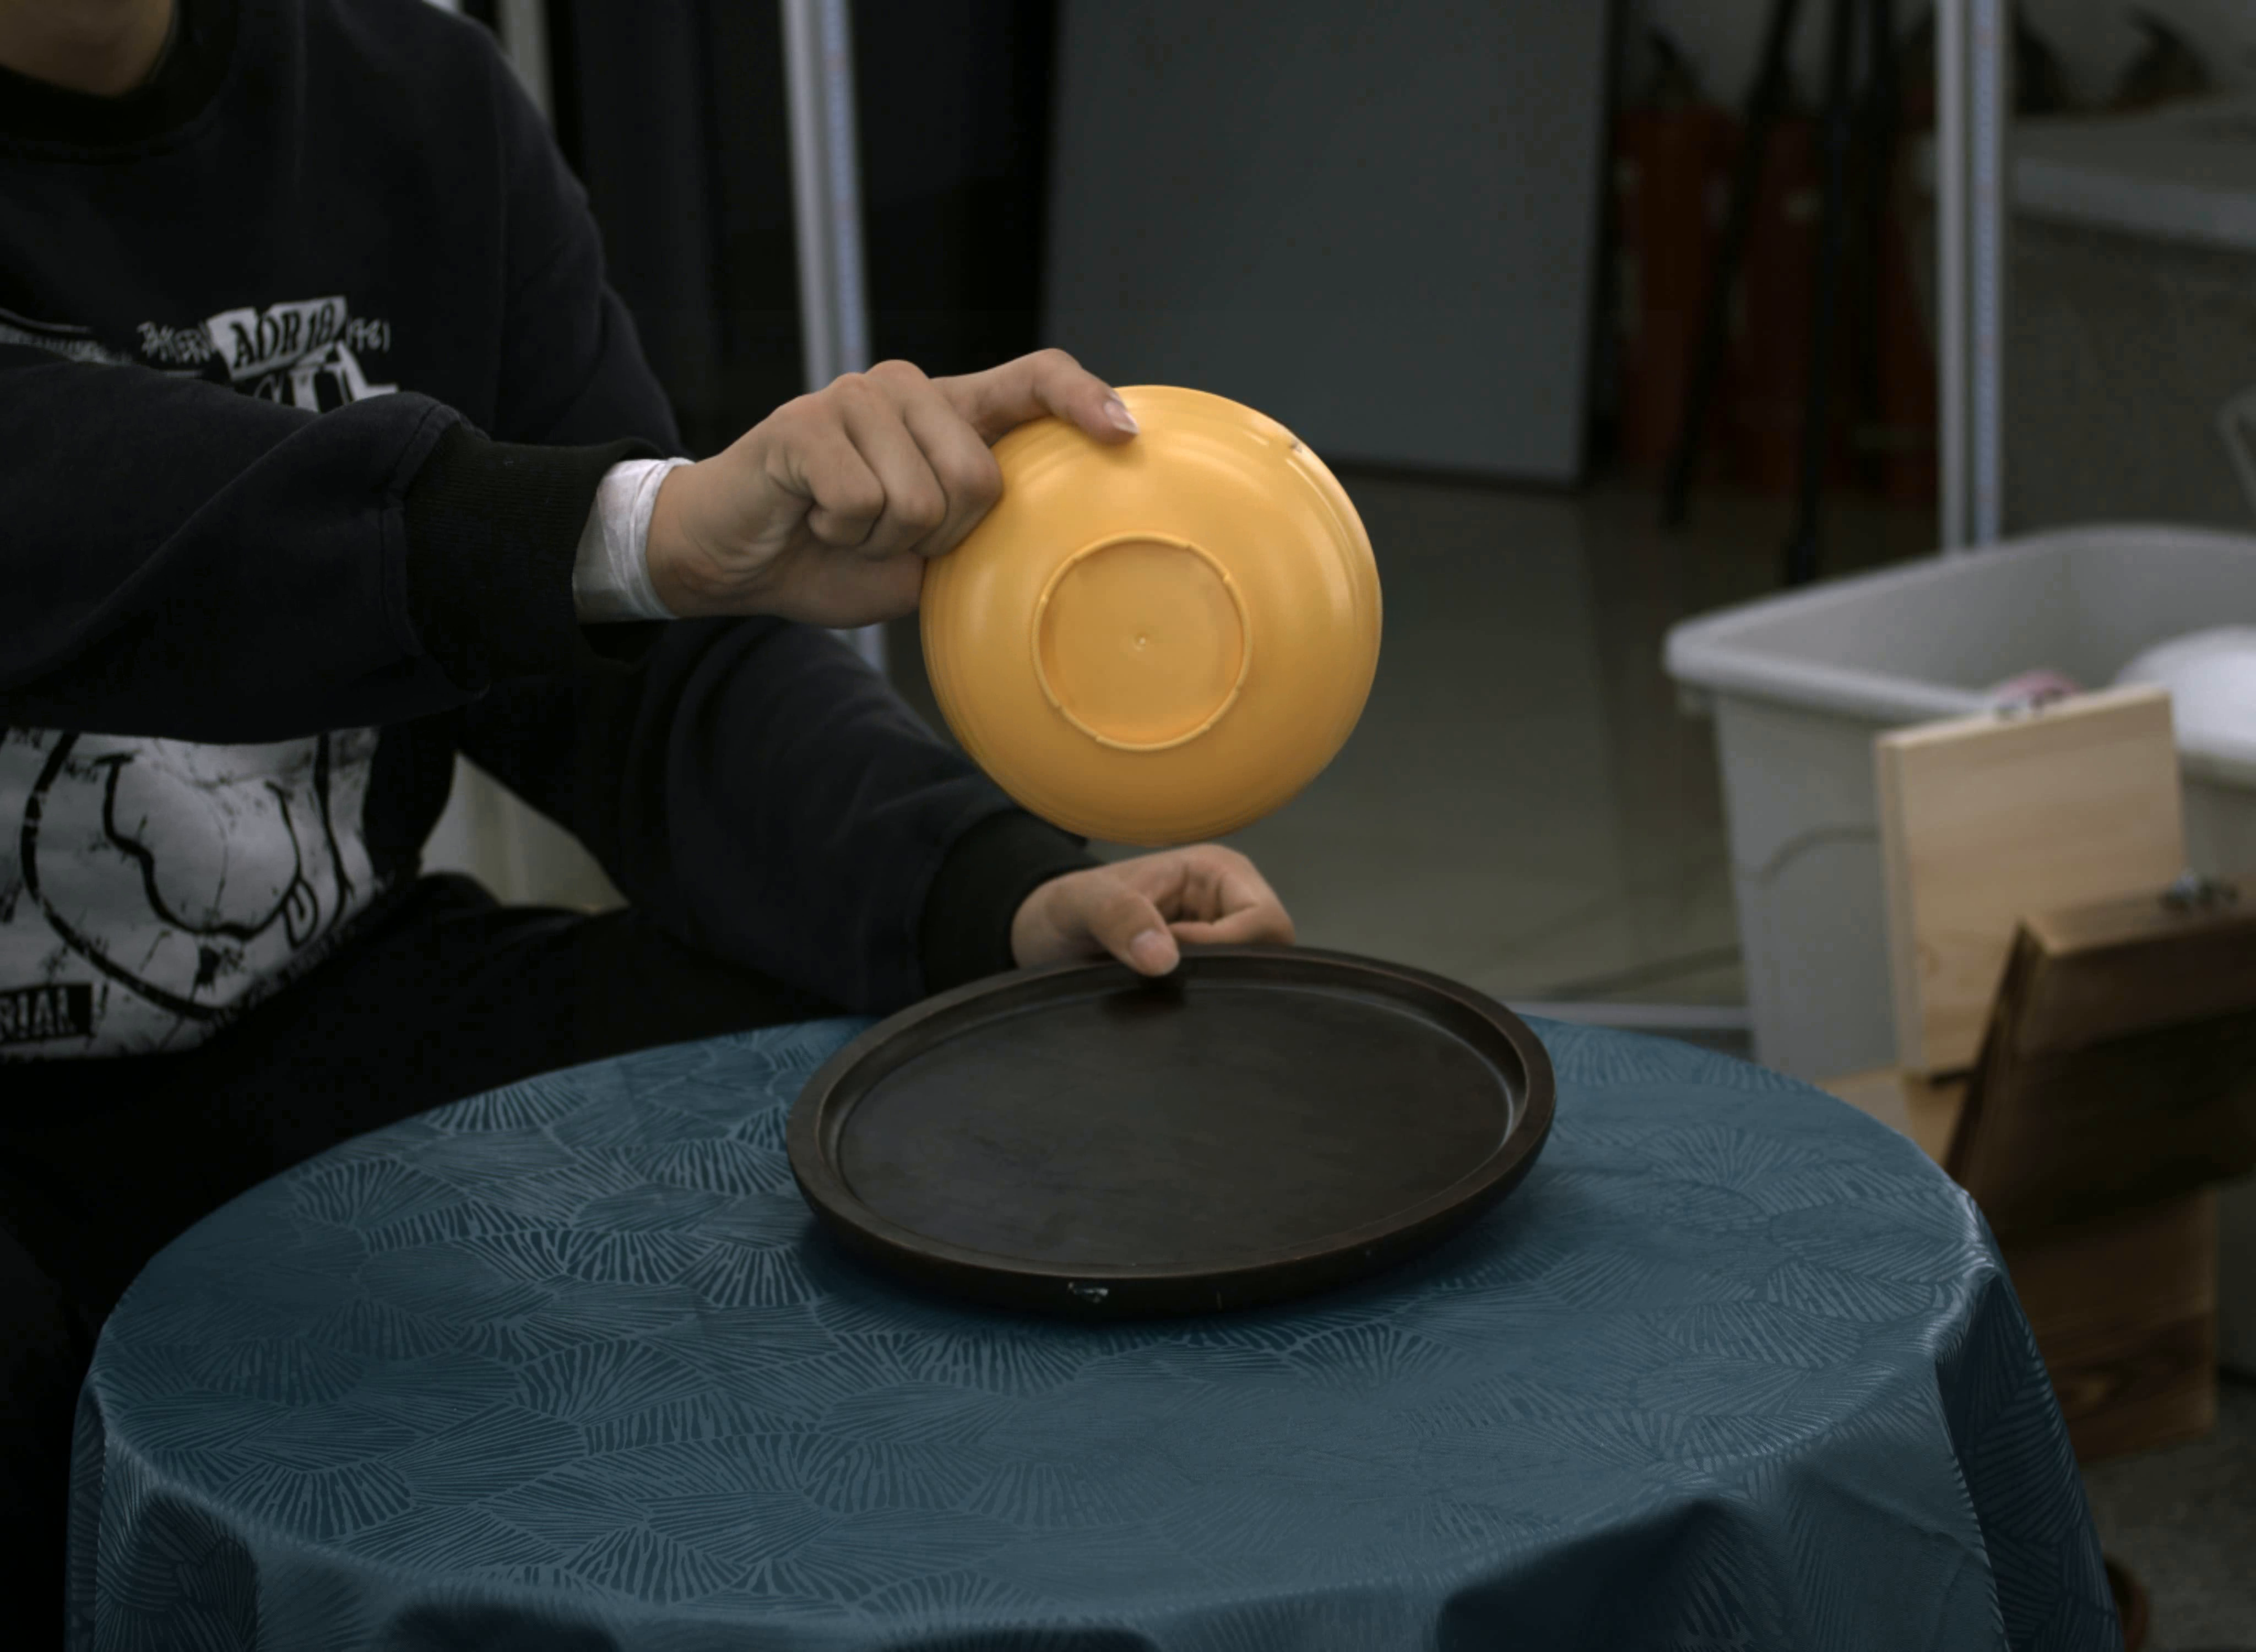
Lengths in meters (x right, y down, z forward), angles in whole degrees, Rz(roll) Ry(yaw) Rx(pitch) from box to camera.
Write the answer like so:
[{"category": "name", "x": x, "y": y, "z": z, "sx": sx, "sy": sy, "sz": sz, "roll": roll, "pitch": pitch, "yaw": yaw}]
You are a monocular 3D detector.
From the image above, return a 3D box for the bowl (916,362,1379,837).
[{"category": "bowl", "x": 0.006, "y": -0.064, "z": 1.628, "sx": 0.143, "sy": 0.147, "sz": 0.060, "roll": -3, "pitch": 9, "yaw": 3}]

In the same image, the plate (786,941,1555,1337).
[{"category": "plate", "x": 0.015, "y": 0.099, "z": 1.748, "sx": 0.252, "sy": 0.029, "sz": 0.255, "roll": -7, "pitch": 23, "yaw": 2}]
